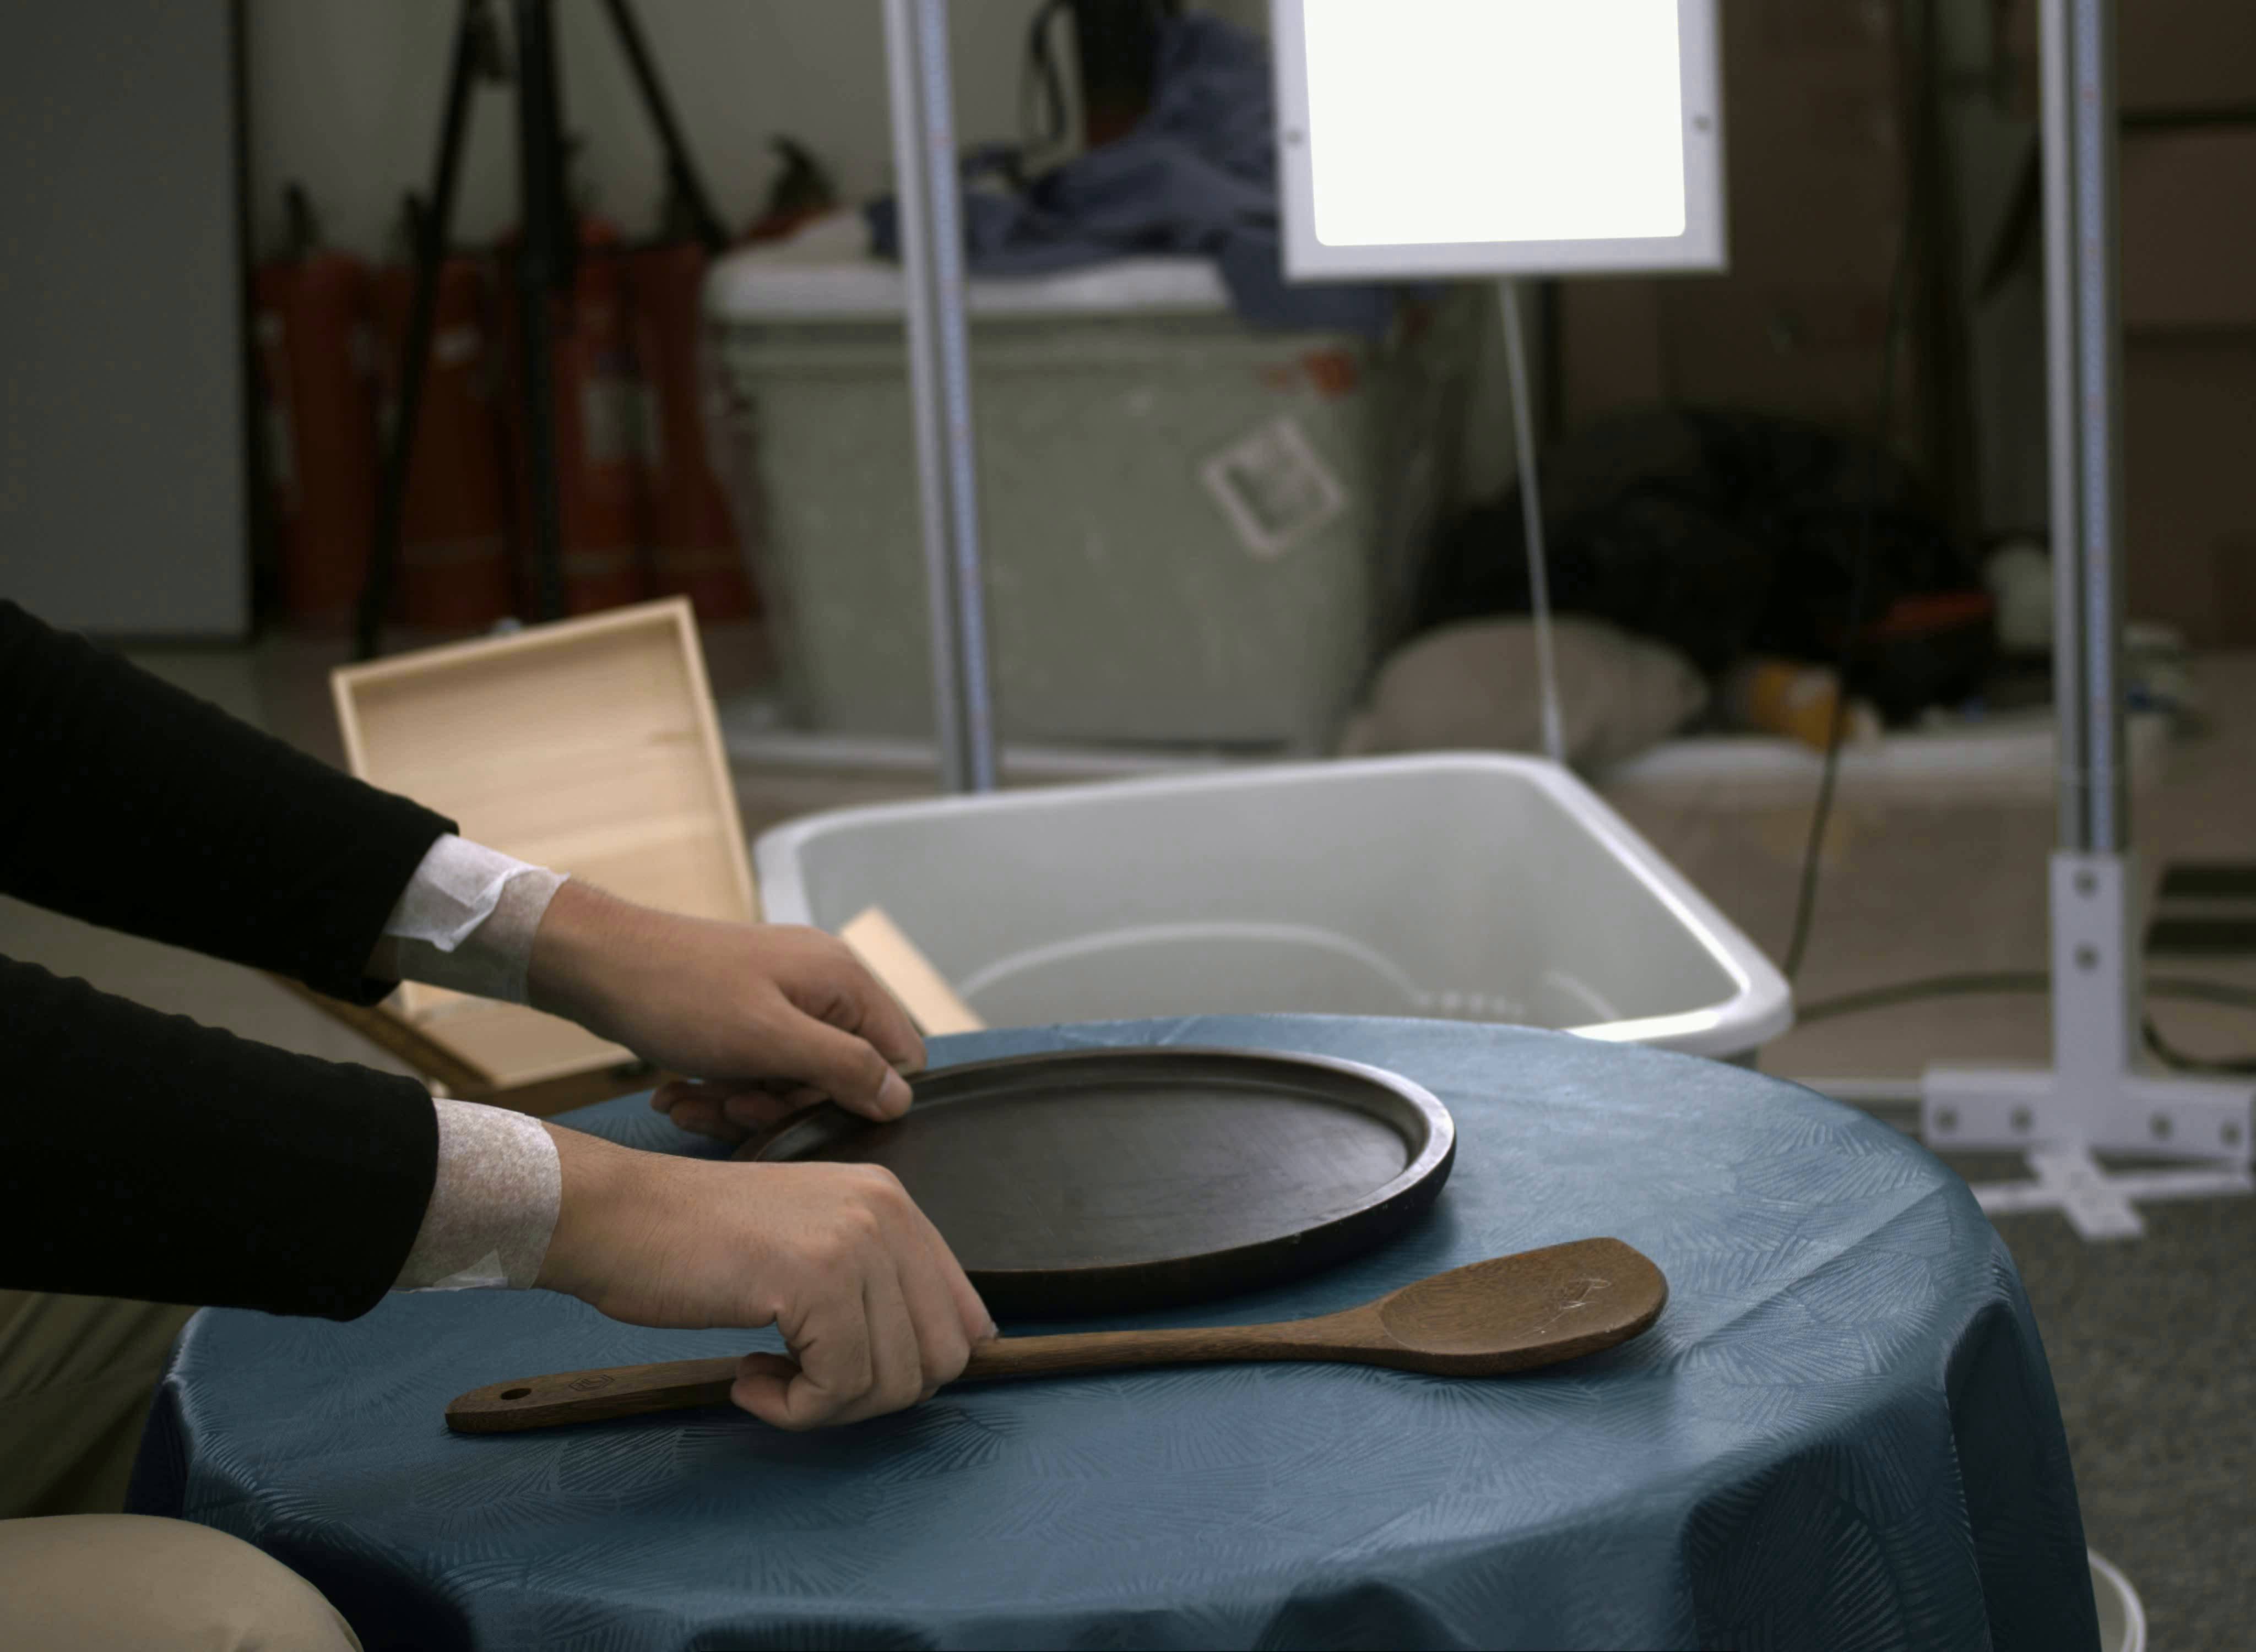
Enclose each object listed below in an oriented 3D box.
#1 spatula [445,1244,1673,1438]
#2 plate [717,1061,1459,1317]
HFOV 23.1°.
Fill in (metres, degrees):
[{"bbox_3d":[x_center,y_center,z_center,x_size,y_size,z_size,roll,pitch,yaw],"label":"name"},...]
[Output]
[{"bbox_3d":[-0.022,0.165,1.720,0.385,0.016,0.096,-5,13,1],"label":"spatula"},{"bbox_3d":[-0.013,0.121,1.879,0.254,0.029,0.254,-4,14,-1],"label":"plate"}]
